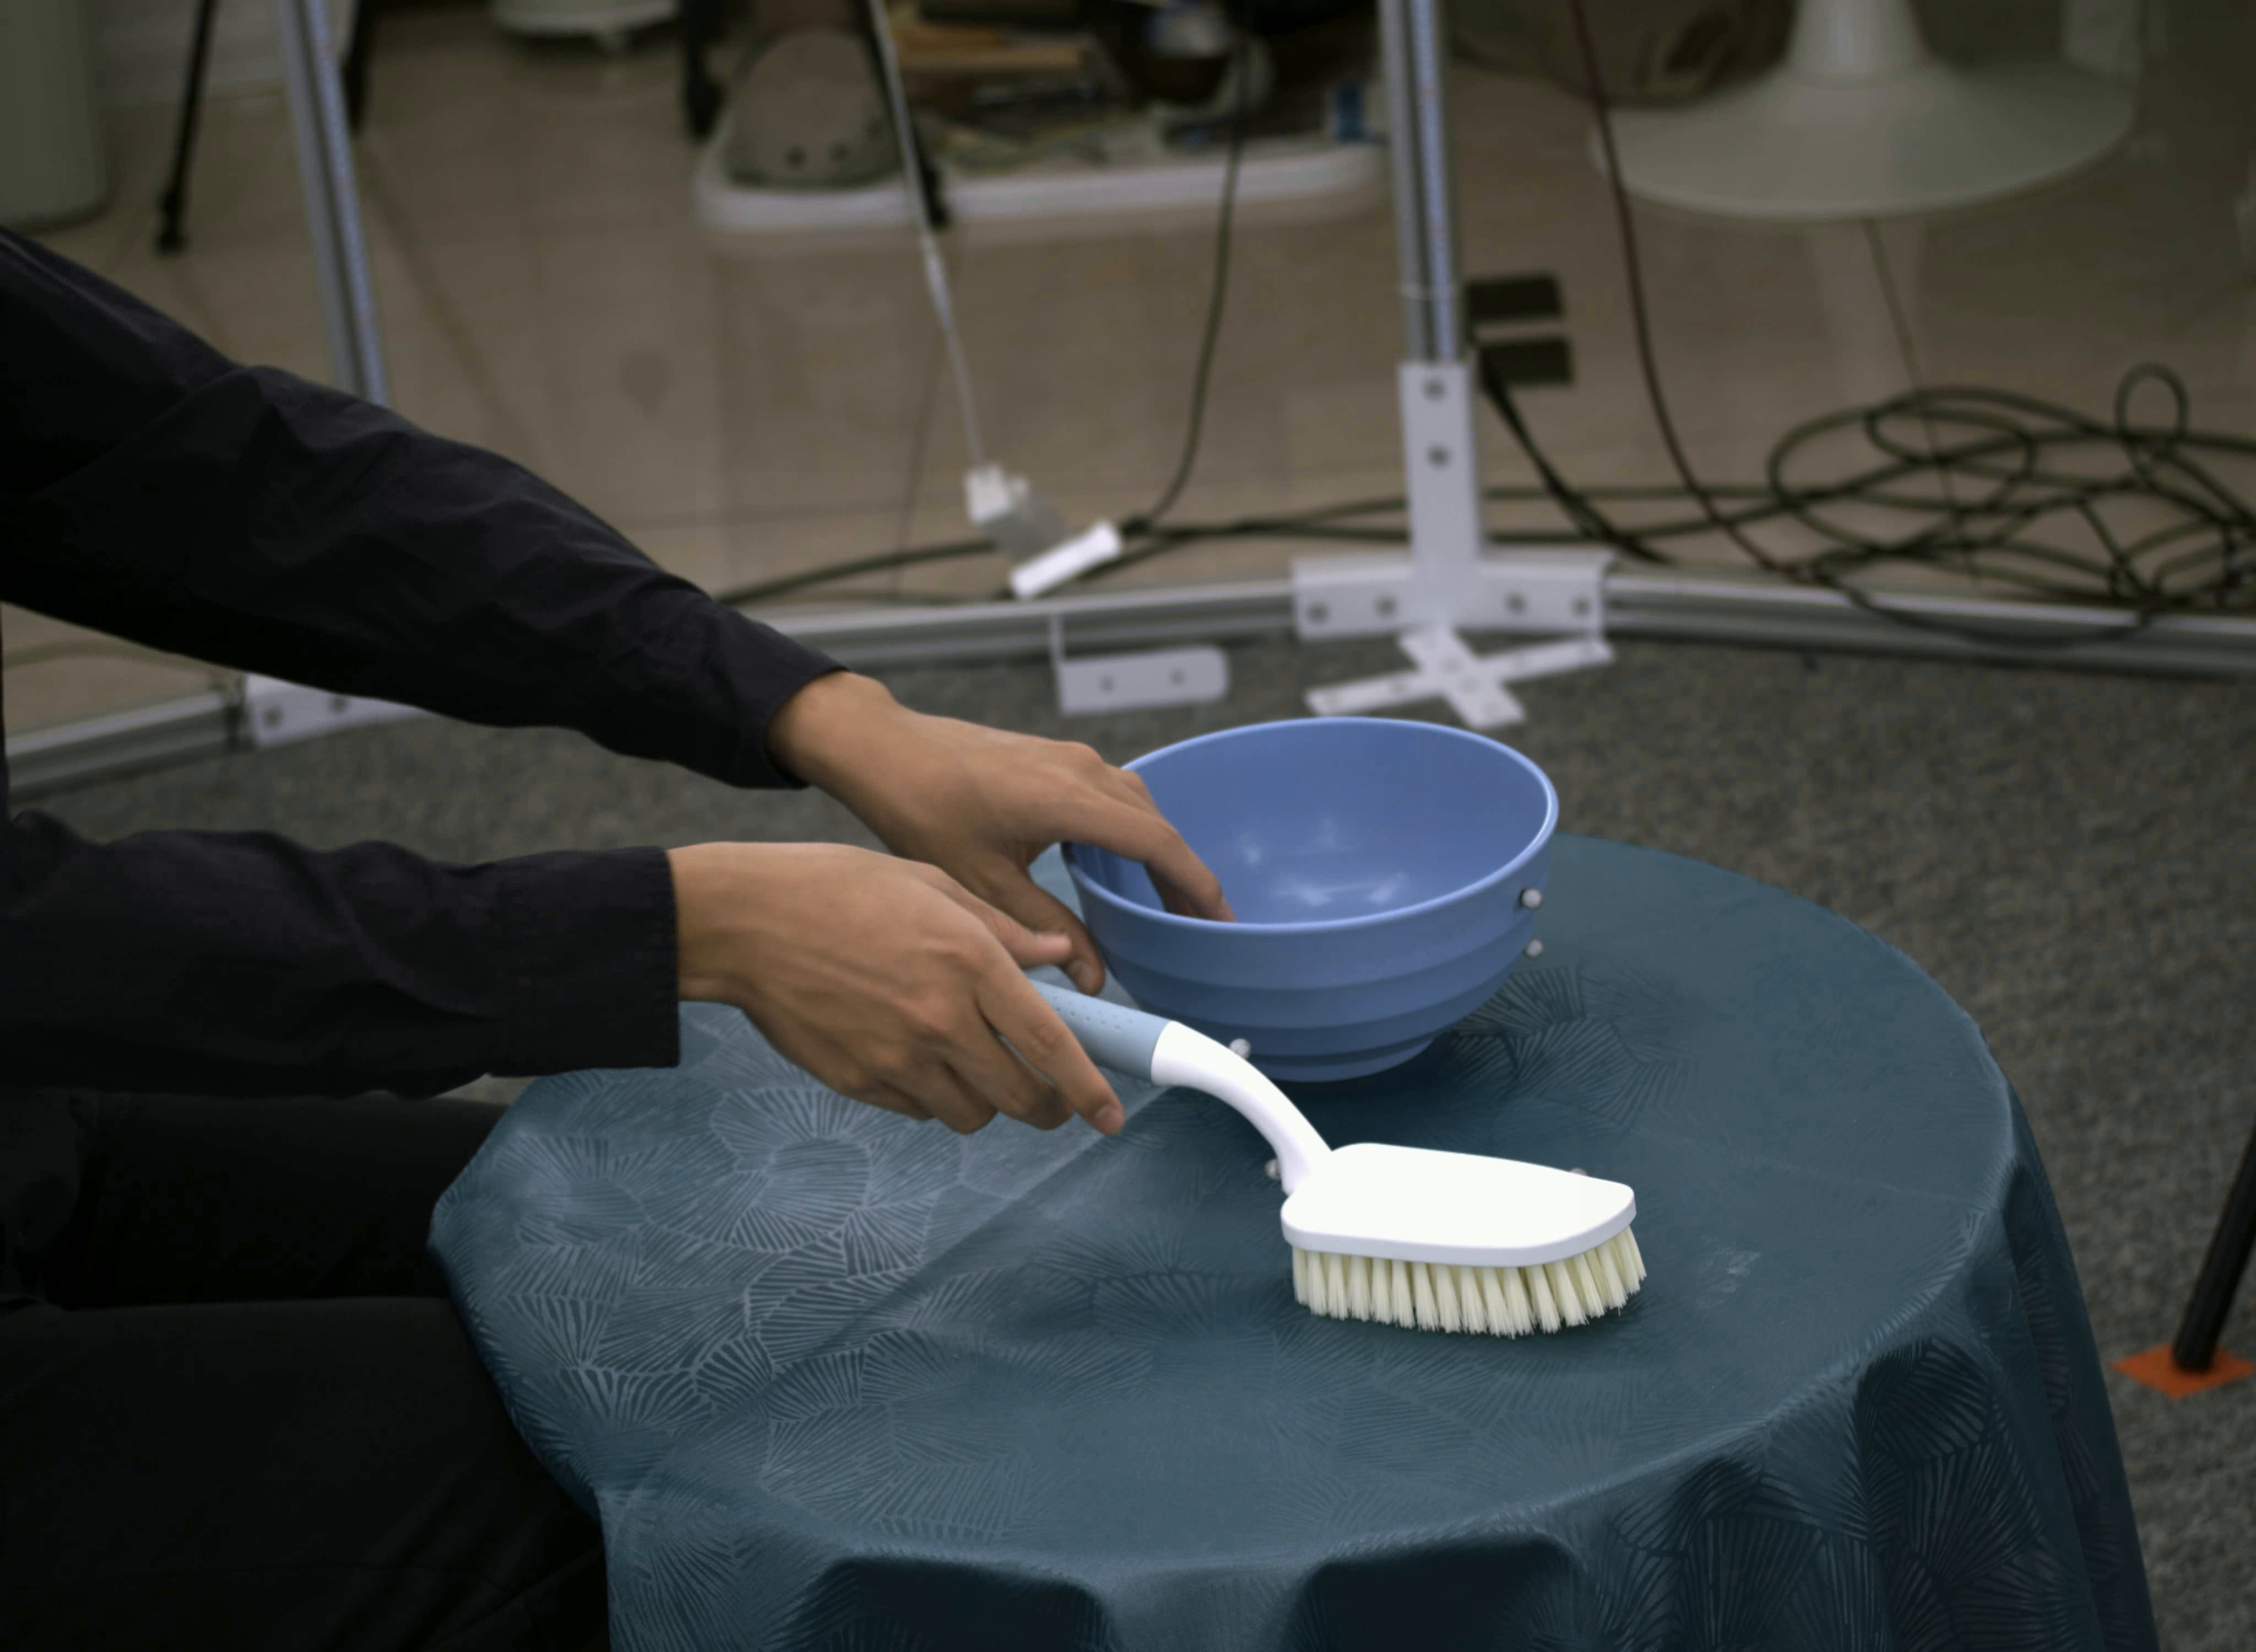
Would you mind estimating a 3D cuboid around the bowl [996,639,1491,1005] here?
[{"bbox_3d":[0.050,0.009,2.254,0.196,0.097,0.193,-6,26,3],"label":"bowl"}]

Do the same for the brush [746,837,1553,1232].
[{"bbox_3d":[0.004,0.088,2.104,0.324,0.084,0.083,17,-5,18],"label":"brush"}]
